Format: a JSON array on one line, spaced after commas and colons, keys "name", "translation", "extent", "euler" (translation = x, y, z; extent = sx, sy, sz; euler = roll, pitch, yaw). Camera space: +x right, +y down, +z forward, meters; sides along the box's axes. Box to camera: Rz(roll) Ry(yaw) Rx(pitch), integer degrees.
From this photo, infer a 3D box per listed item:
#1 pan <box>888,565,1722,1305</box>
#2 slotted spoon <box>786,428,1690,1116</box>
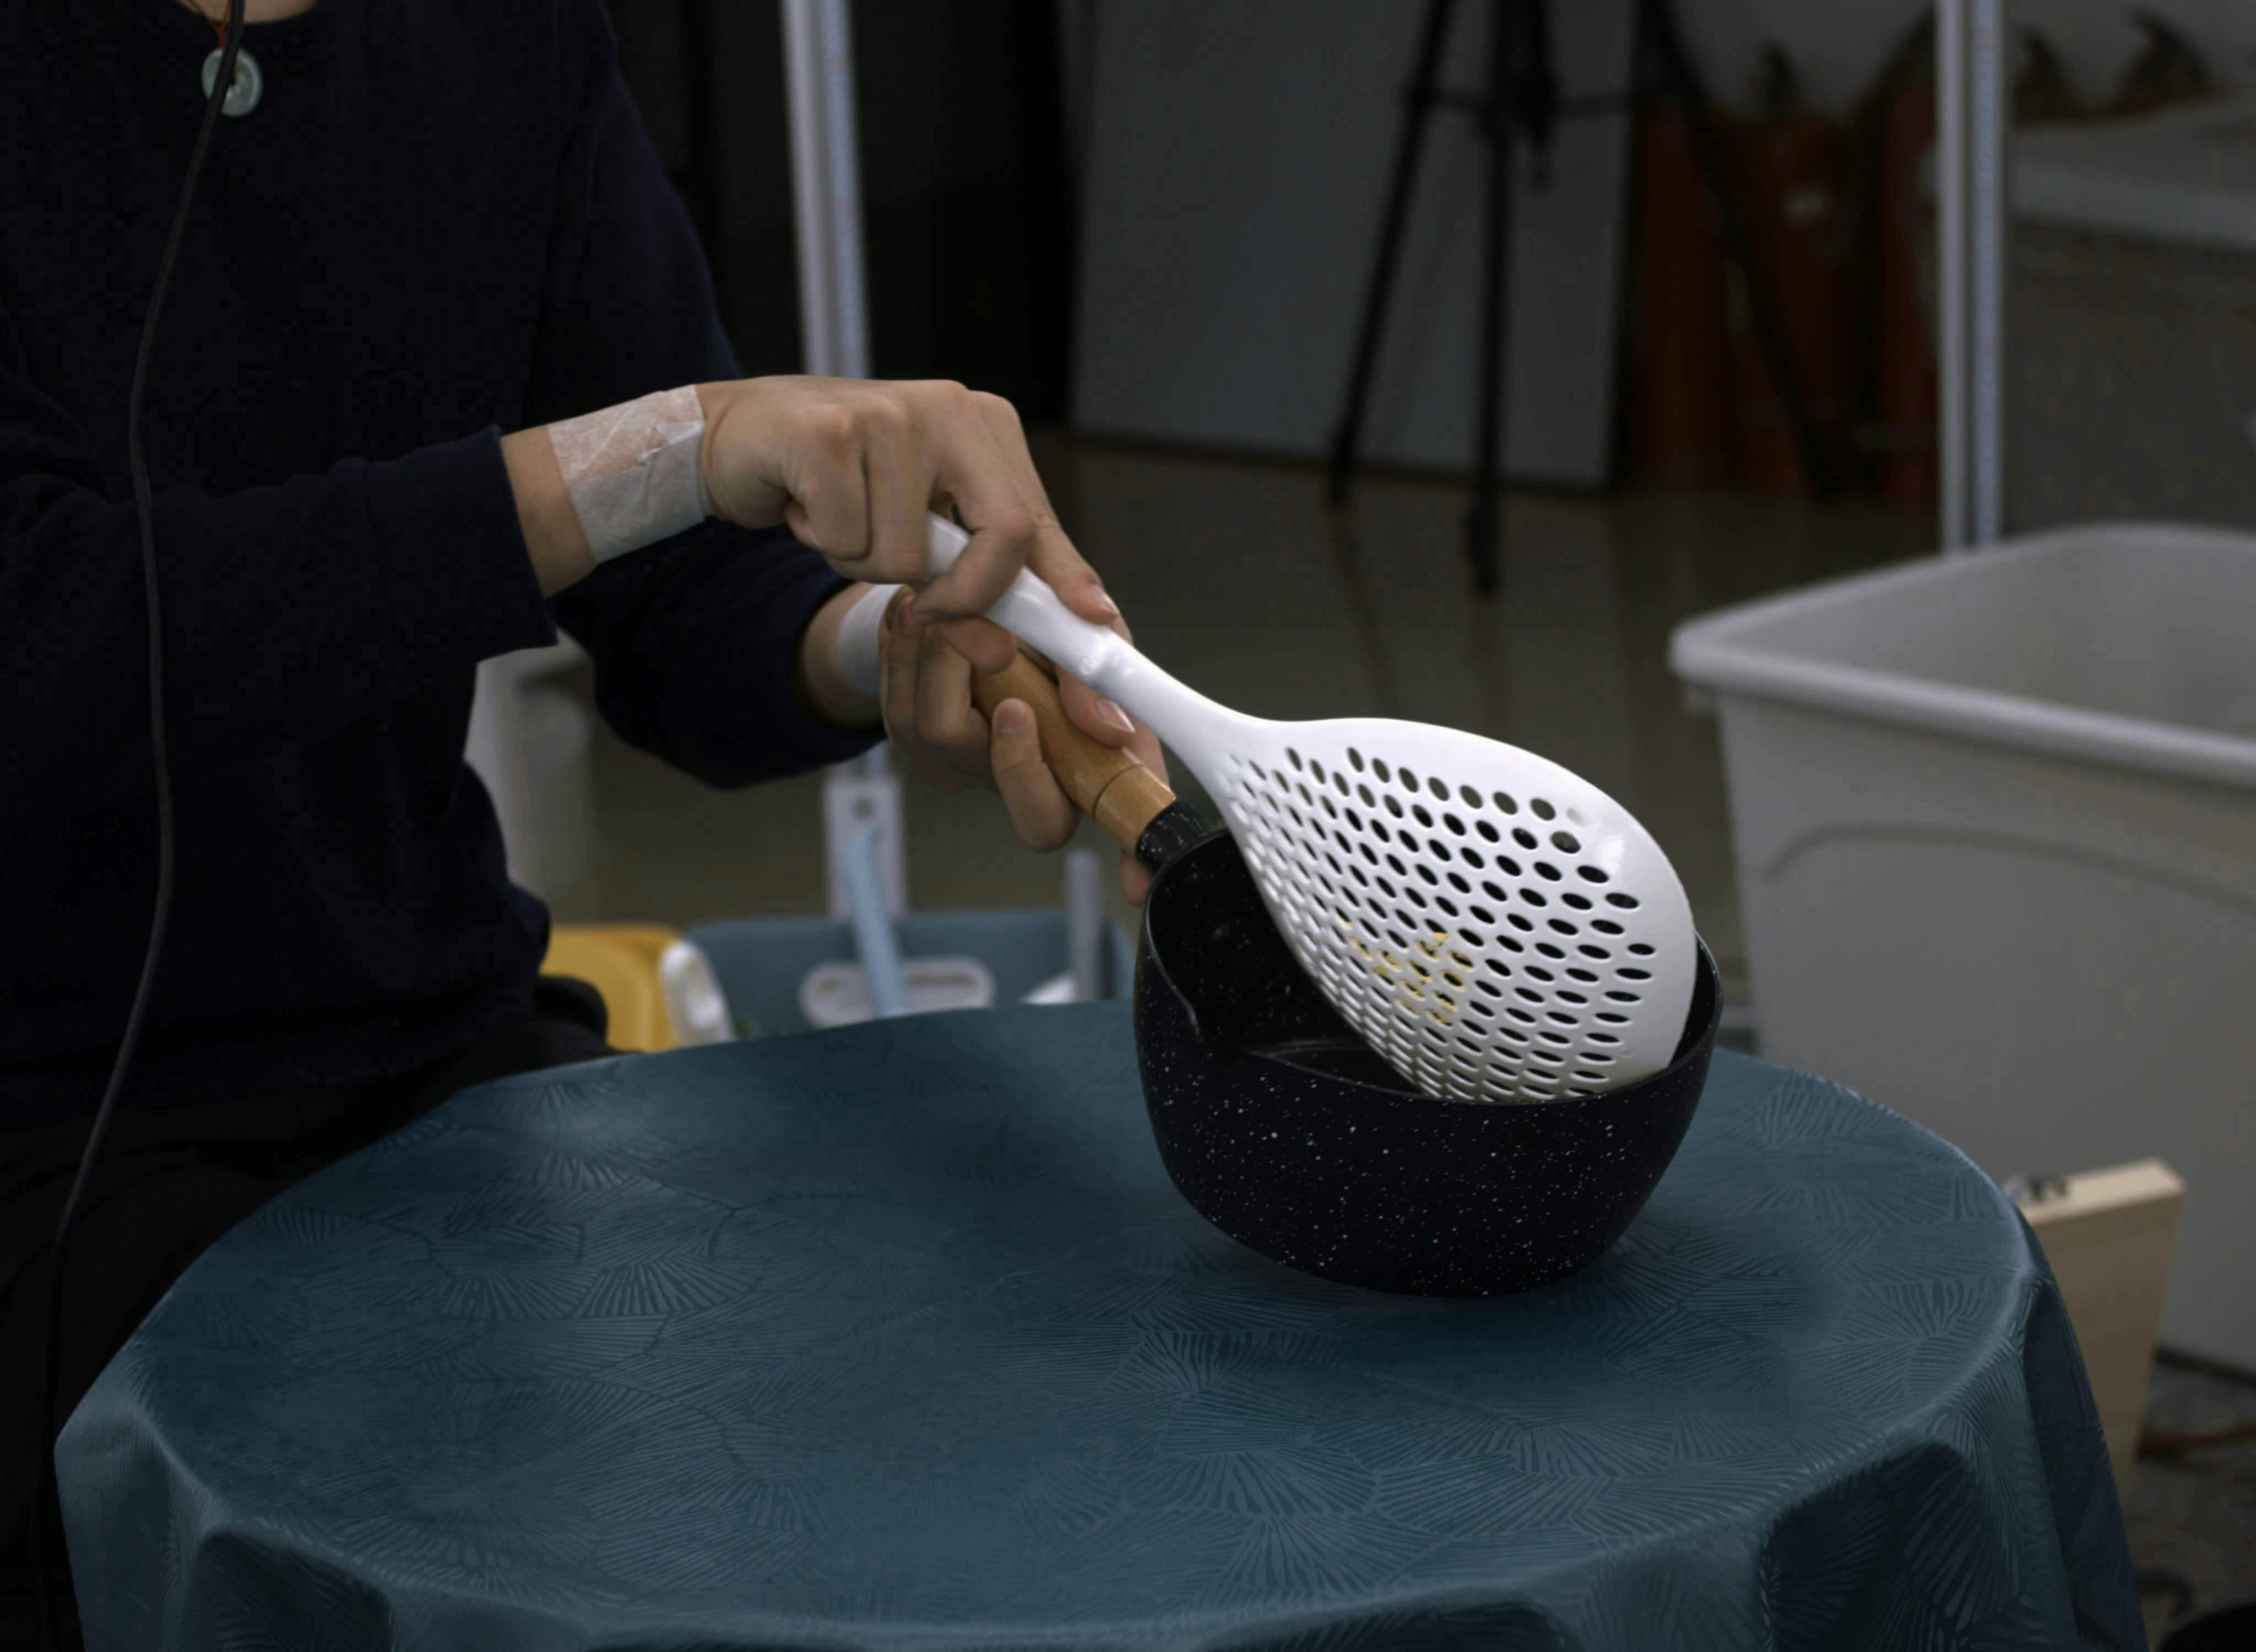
[{"name": "pan", "translation": [0.035, 0.031, 1.729], "extent": [0.203, 0.109, 0.346], "euler": [-21, 39, -40]}, {"name": "slotted spoon", "translation": [0.026, -0.023, 1.671], "extent": [0.351, 0.138, 0.049], "euler": [40, 42, 26]}]
